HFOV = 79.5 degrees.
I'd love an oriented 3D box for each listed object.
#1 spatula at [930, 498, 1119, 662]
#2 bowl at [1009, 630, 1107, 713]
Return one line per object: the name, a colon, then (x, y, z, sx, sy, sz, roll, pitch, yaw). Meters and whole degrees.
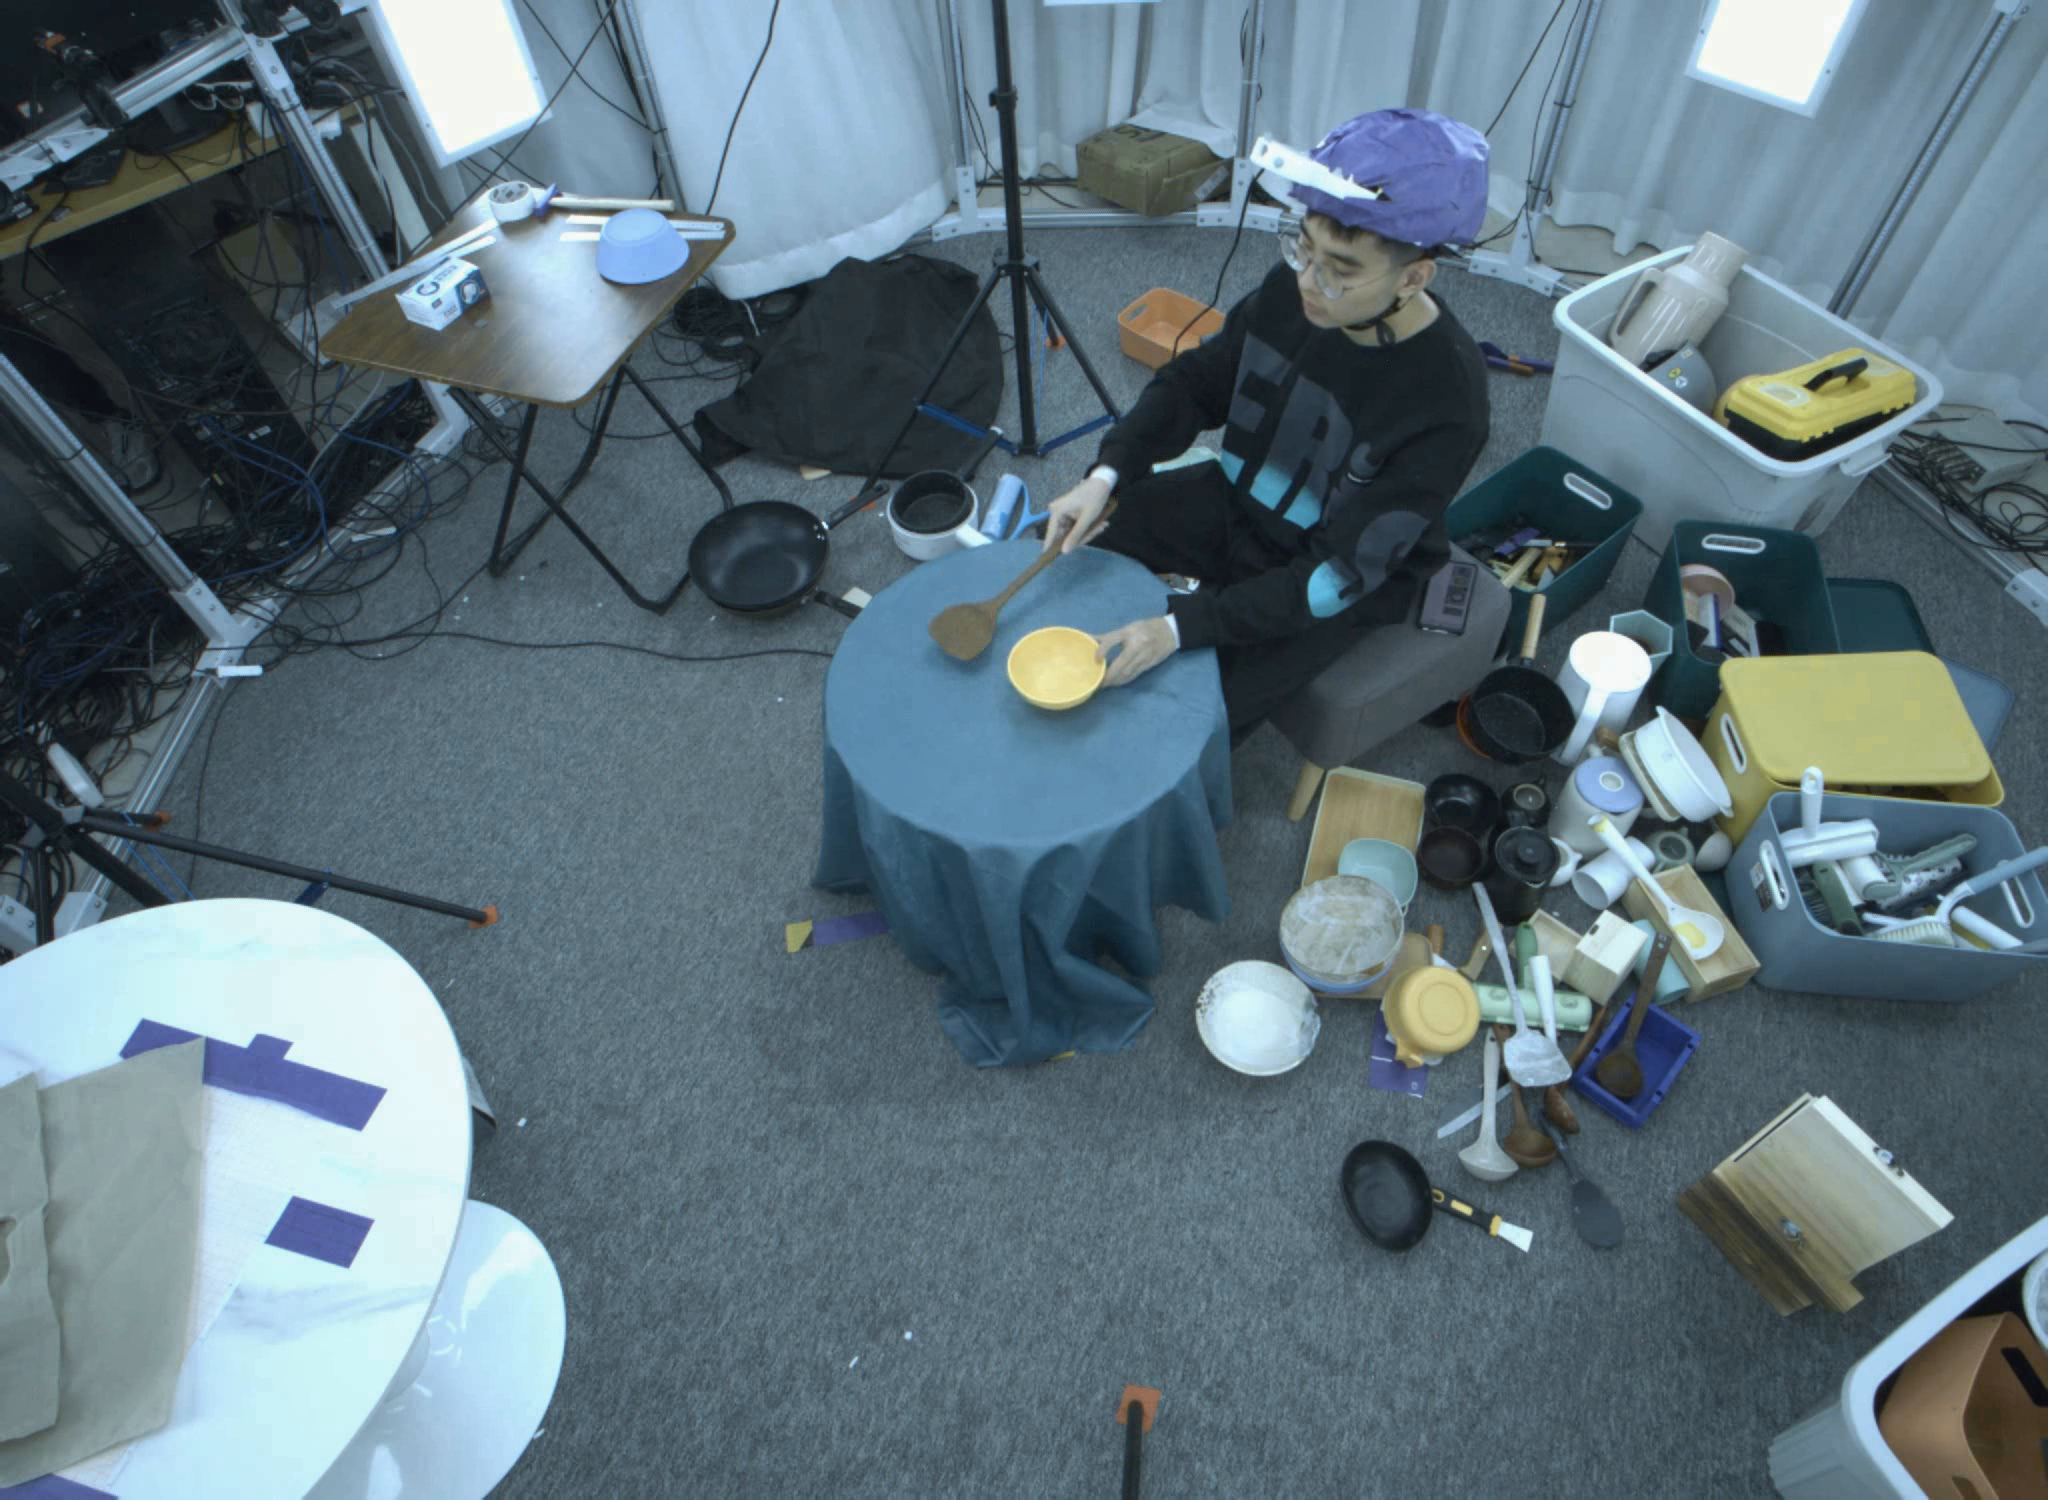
spatula: (0.013, -0.279, 1.922, 0.095, 0.016, 0.387, 43, 73, 12)
bowl: (0.050, -0.106, 1.836, 0.145, 0.060, 0.144, 1, 55, 0)
